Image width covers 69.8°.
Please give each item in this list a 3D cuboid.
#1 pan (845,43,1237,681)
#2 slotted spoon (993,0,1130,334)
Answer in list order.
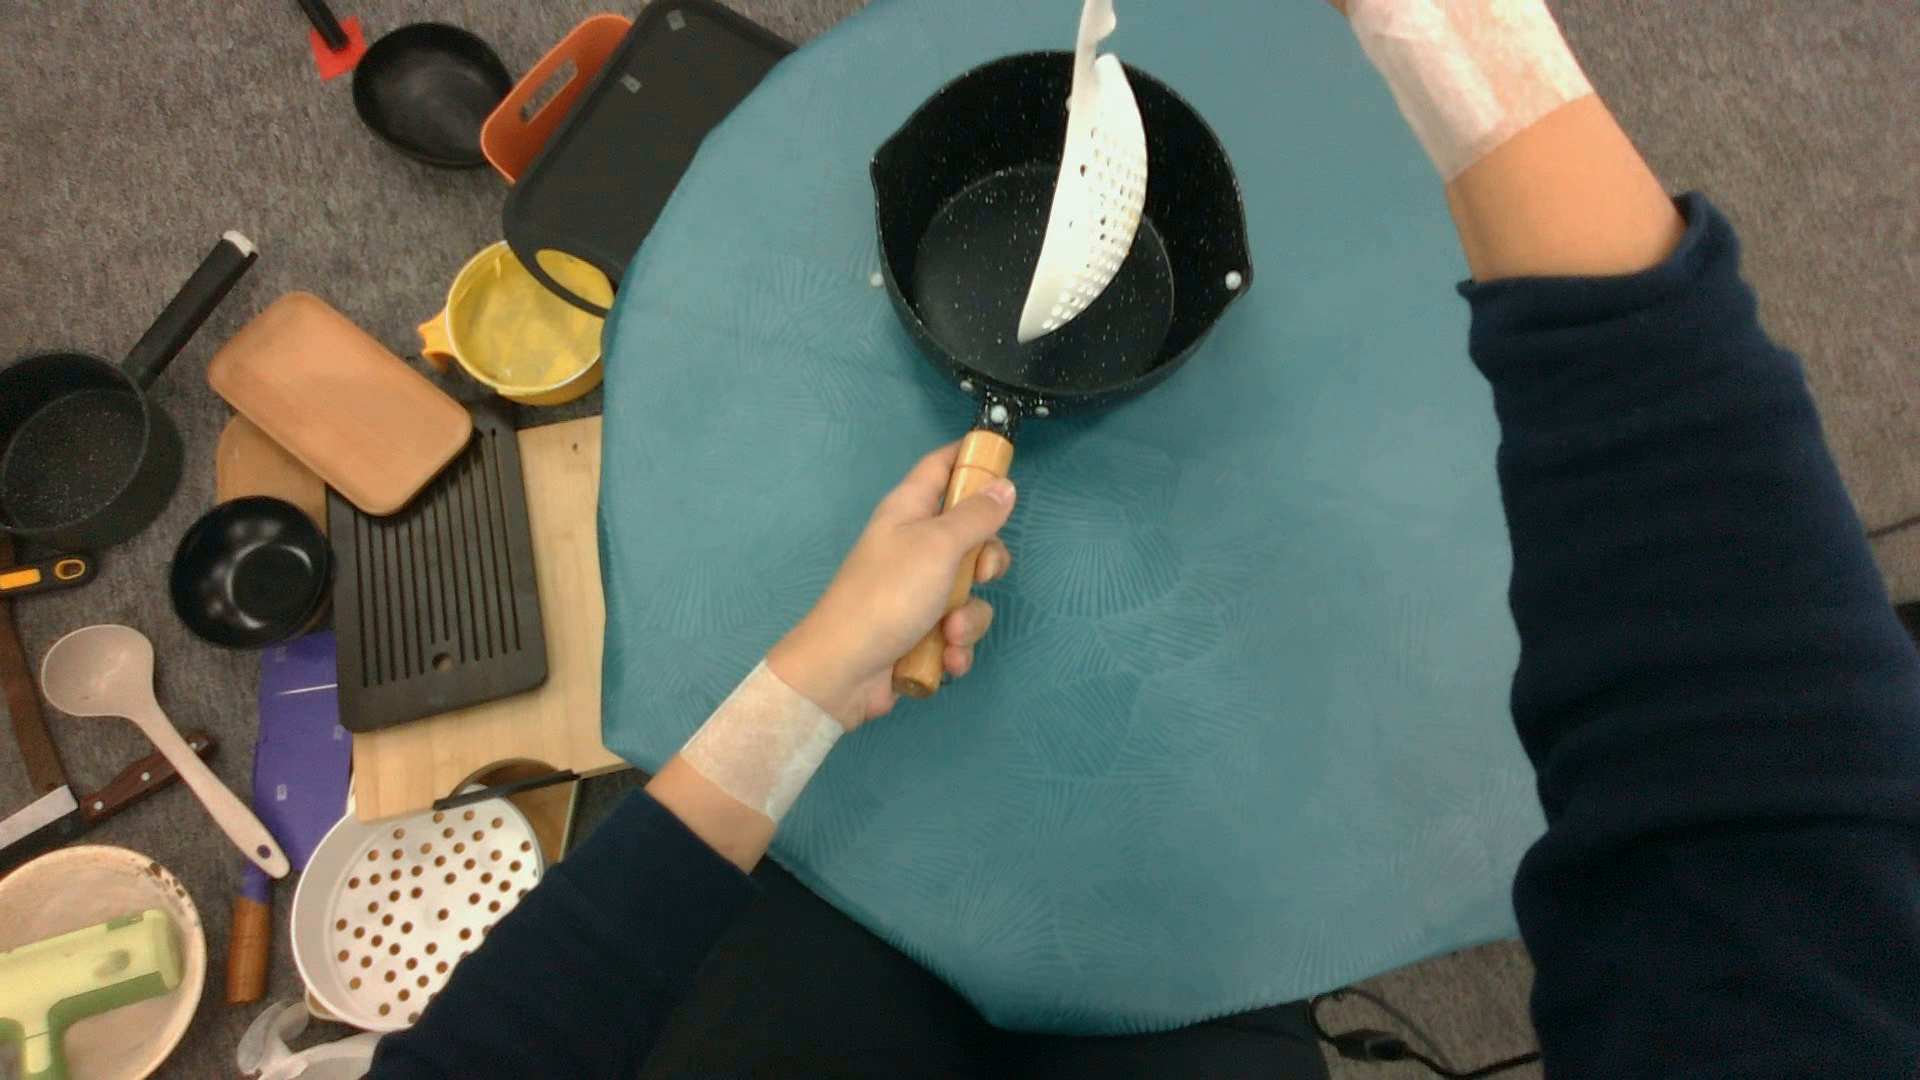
[{"bbox_3d":[0.019,-0.085,0.695,0.207,0.108,0.344,16,74,0],"label":"pan"},{"bbox_3d":[0.052,-0.187,0.566,0.050,0.347,0.137,18,79,8],"label":"slotted spoon"}]
